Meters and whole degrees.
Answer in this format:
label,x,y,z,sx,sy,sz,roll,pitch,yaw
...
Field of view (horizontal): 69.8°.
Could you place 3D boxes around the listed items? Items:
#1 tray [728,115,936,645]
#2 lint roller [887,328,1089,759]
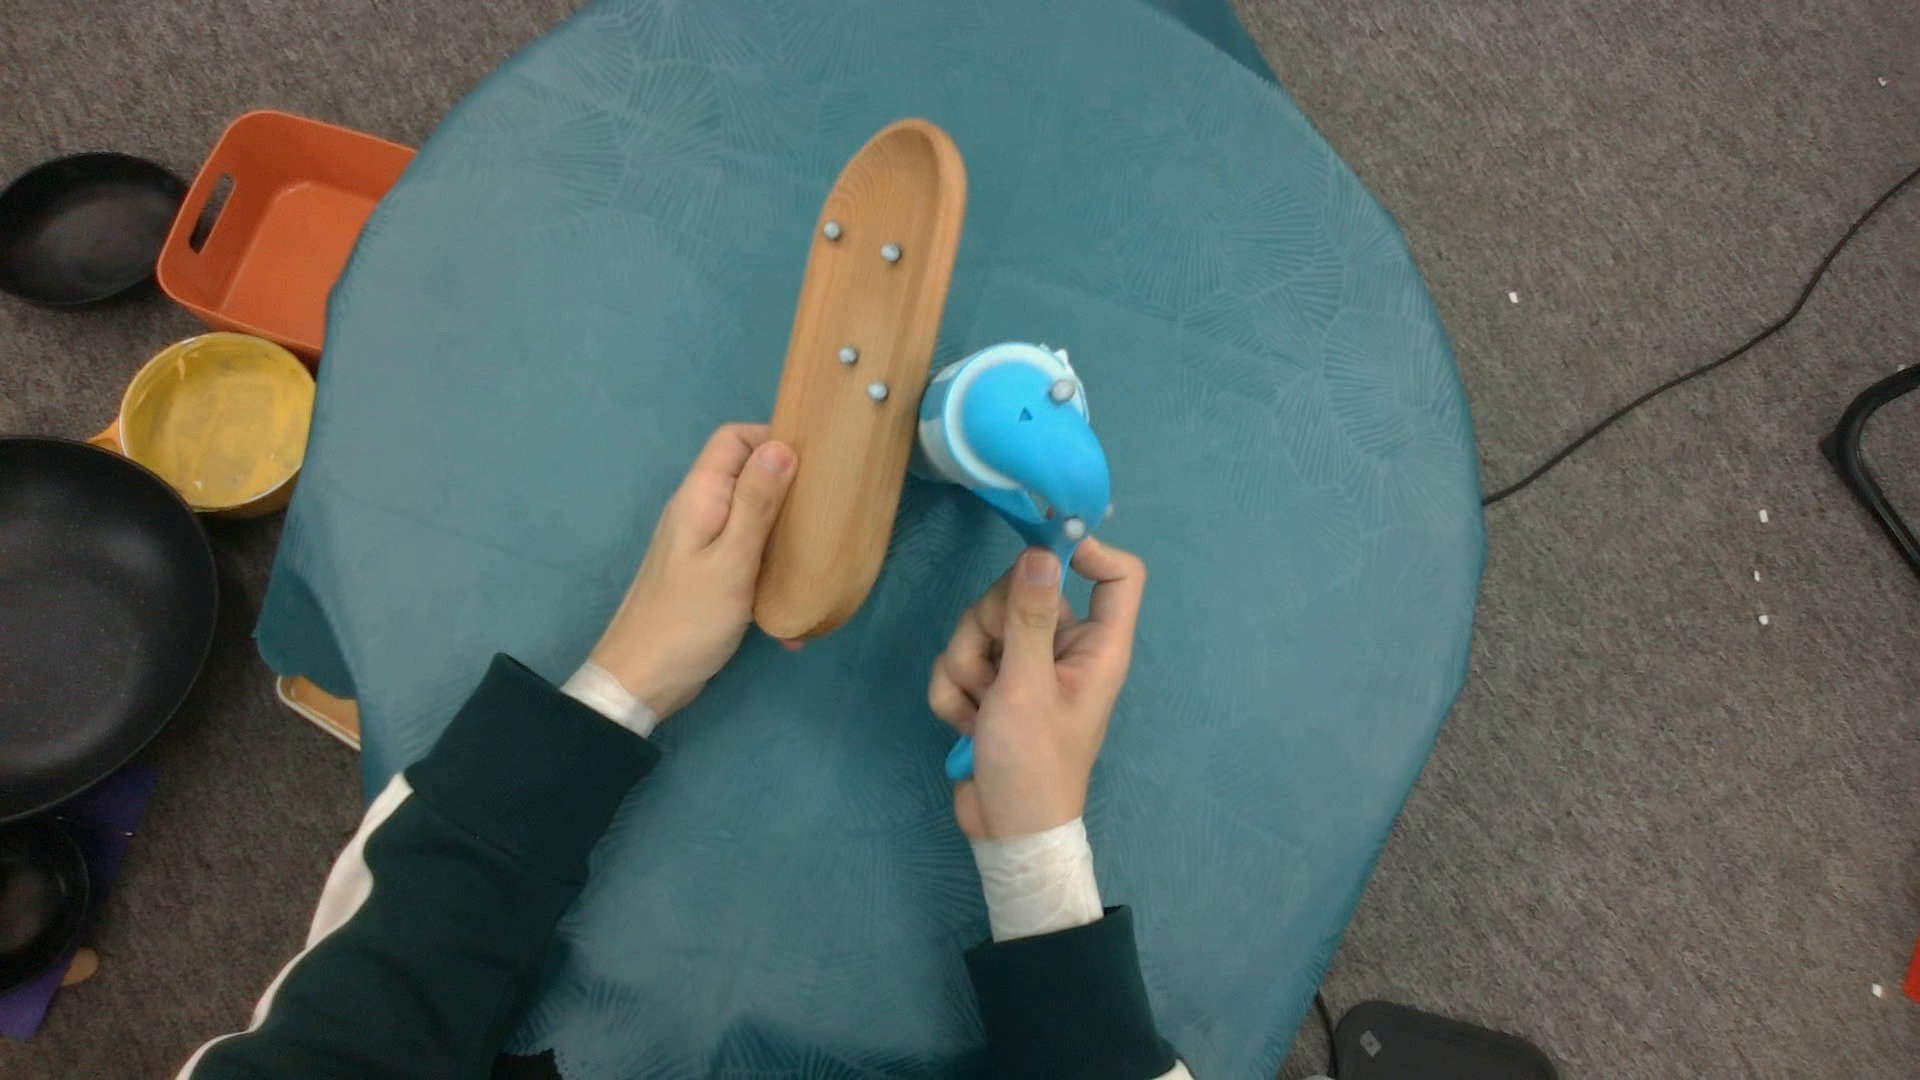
label,x,y,z,sx,sy,sz,roll,pitch,yaw
tray,-0.055,-0.069,0.589,0.020,0.101,0.231,13,83,-36
lint roller,0.005,0.001,0.595,0.068,0.229,0.180,-10,98,-10
